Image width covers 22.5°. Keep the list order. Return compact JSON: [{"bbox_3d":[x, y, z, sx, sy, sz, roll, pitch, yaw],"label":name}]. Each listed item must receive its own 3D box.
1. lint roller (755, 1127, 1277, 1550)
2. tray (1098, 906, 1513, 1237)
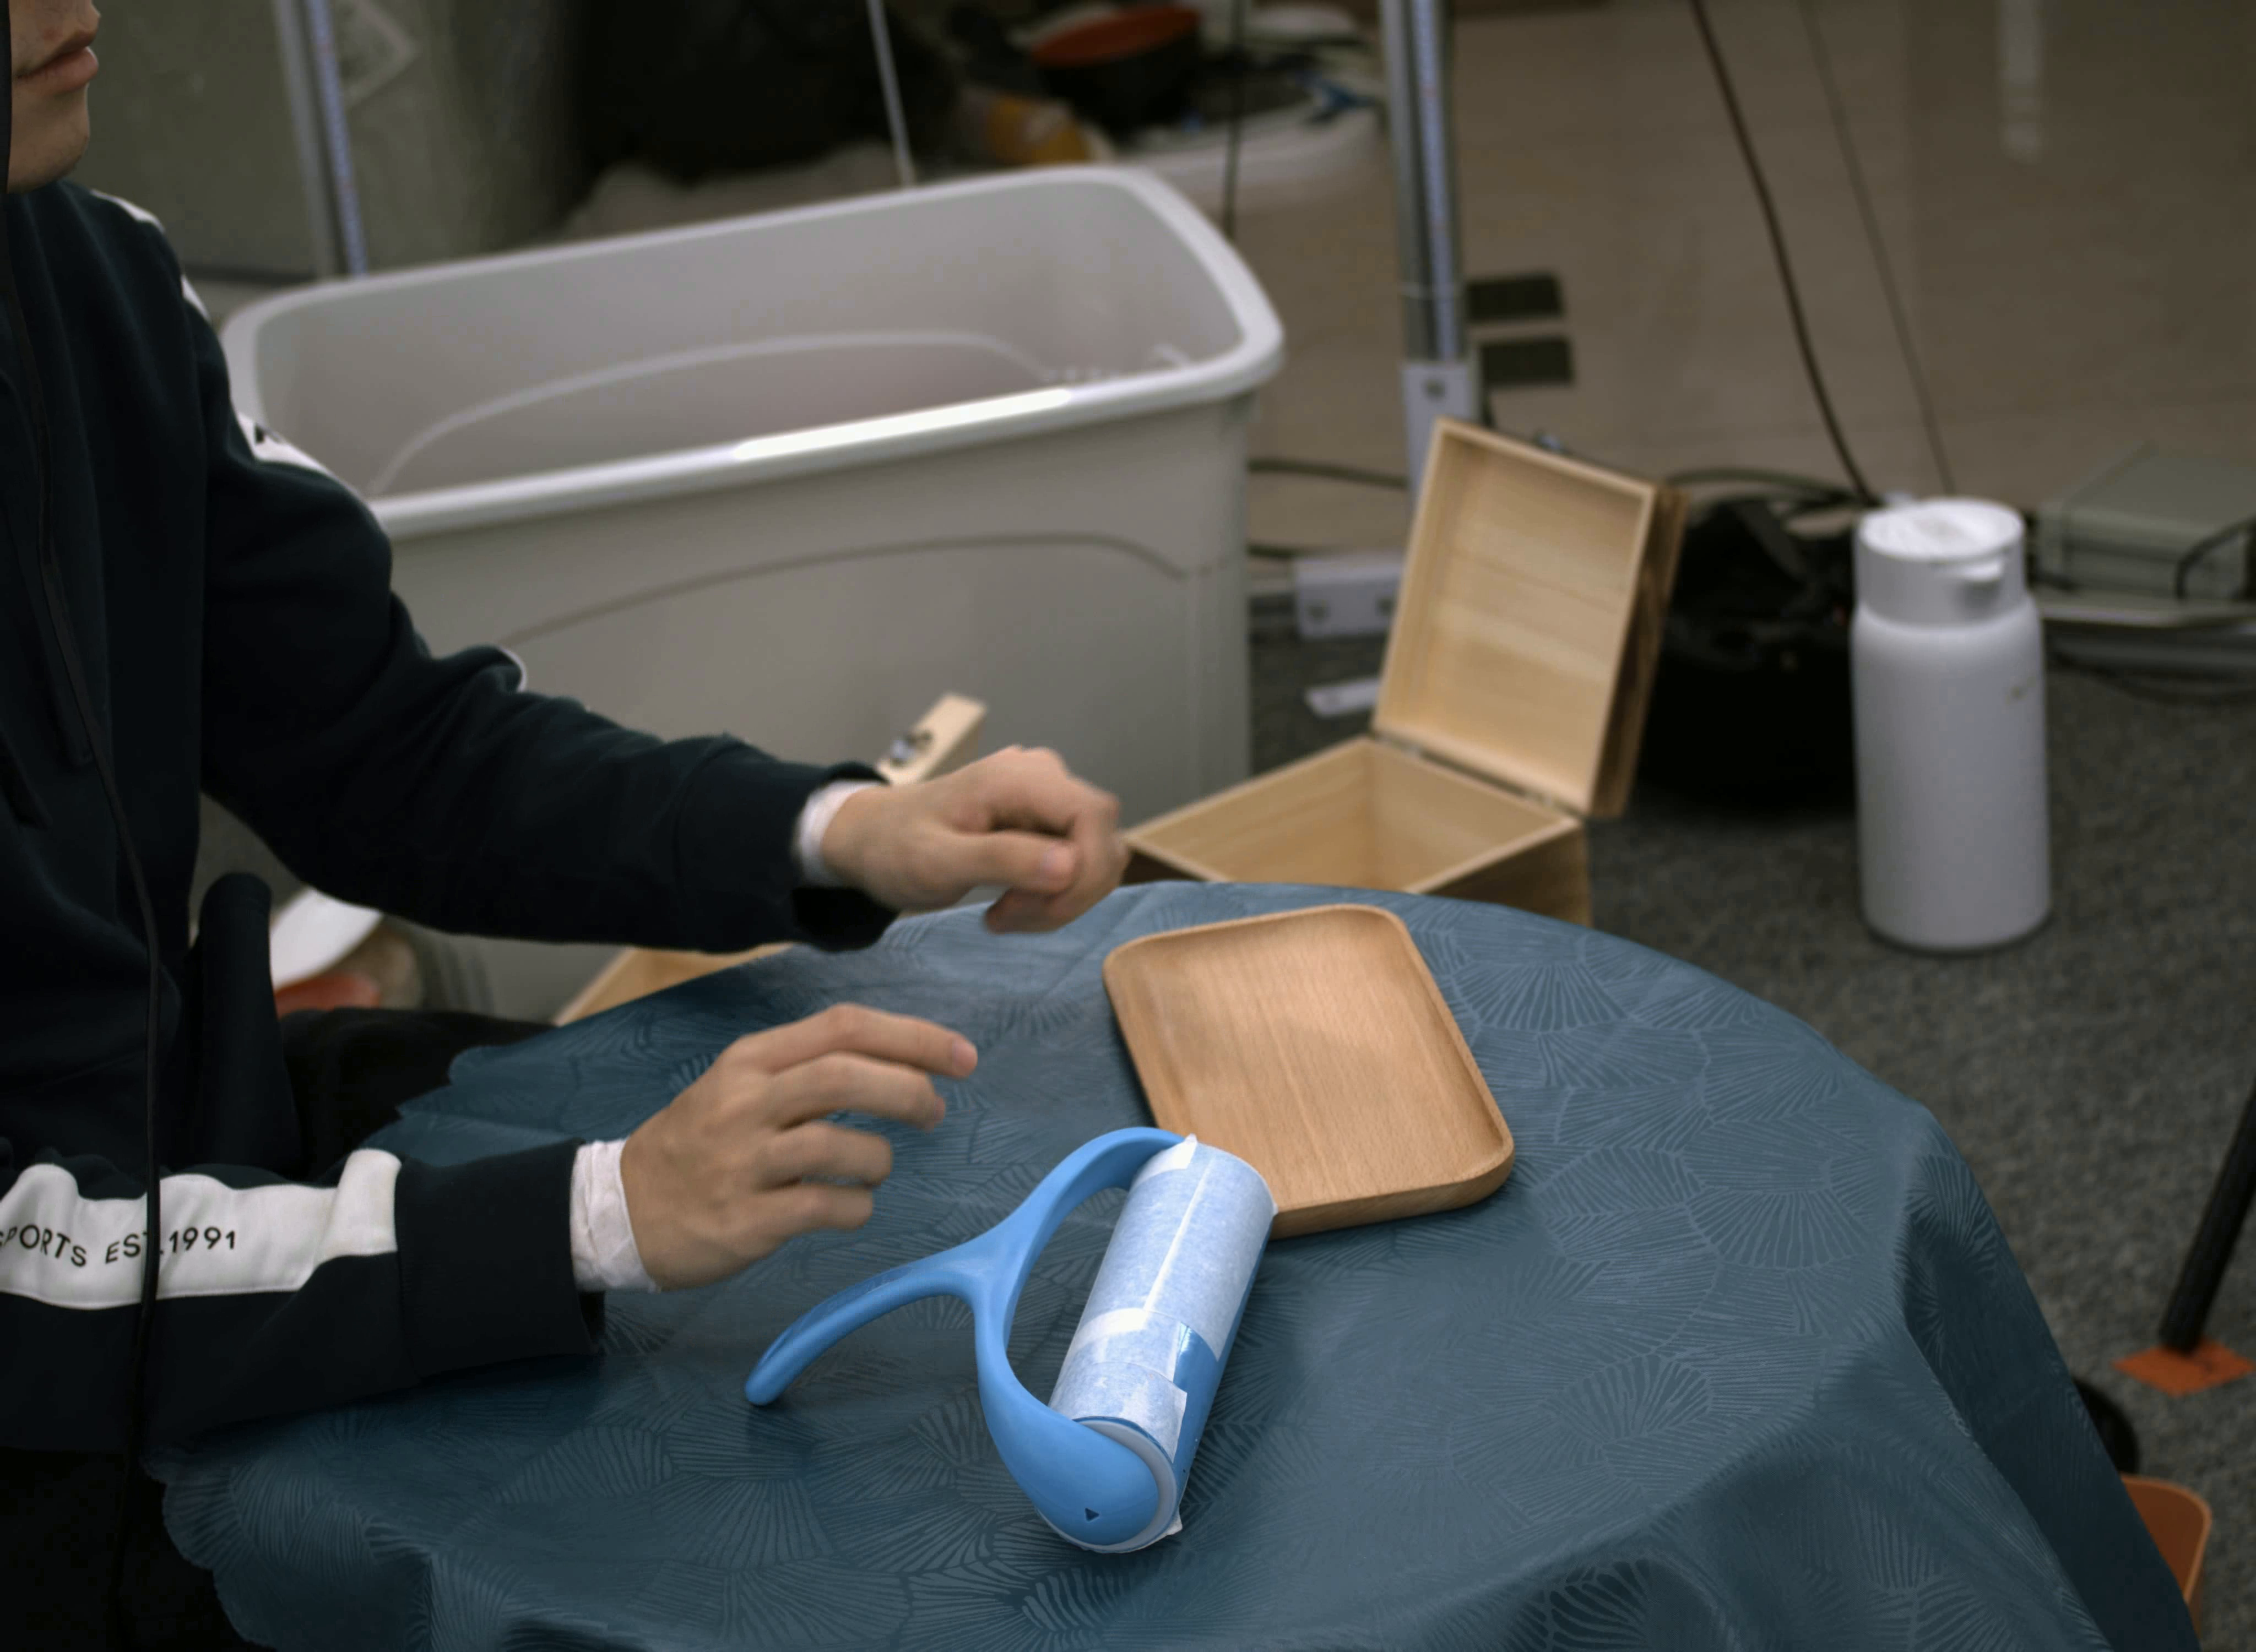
[{"bbox_3d":[-0.048,0.180,2.000,0.180,0.069,0.225,-1,27,10],"label":"lint roller"},{"bbox_3d":[0.066,0.094,2.204,0.130,0.023,0.247,-11,26,-4],"label":"tray"}]
